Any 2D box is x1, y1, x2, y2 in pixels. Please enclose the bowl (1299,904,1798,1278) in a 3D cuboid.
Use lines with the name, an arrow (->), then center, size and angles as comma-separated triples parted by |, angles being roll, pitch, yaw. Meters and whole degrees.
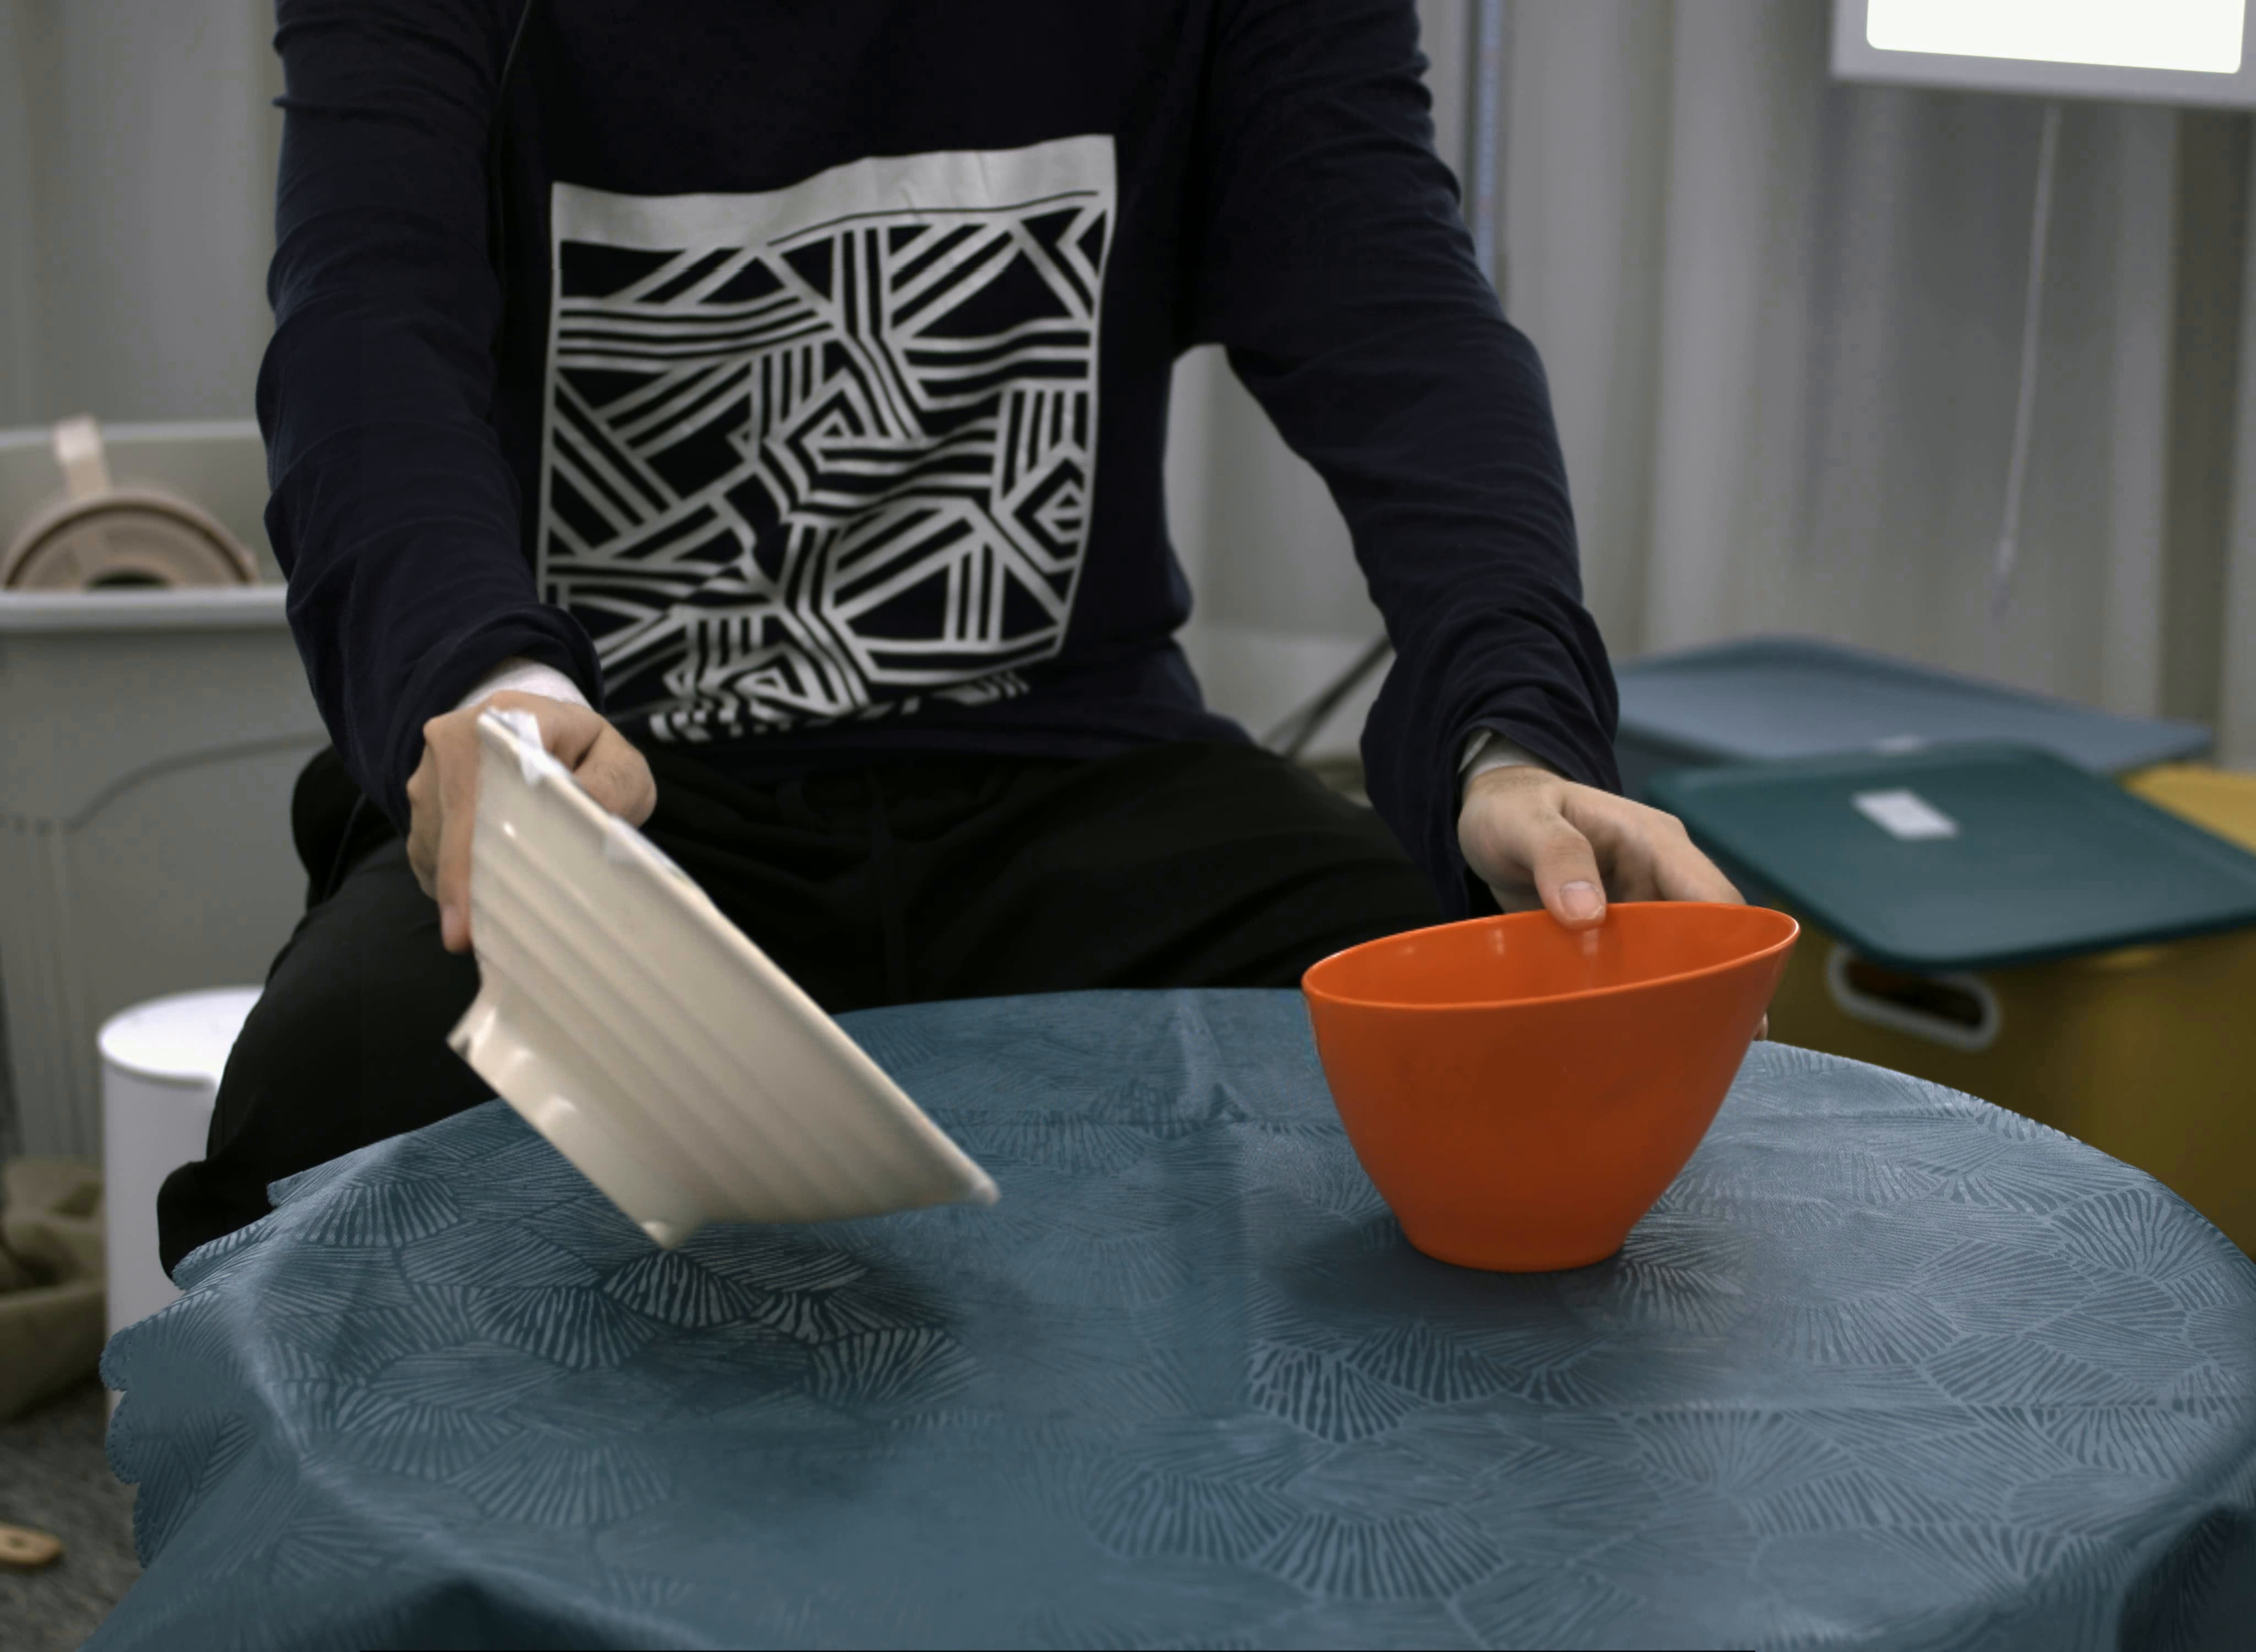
bowl -> 0.124, 0.078, 1.566 | 0.147, 0.105, 0.147 | -1, 15, 1

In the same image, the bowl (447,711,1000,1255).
bowl -> -0.135, 0.064, 1.492 | 0.078, 0.206, 0.201 | -47, 28, -6
